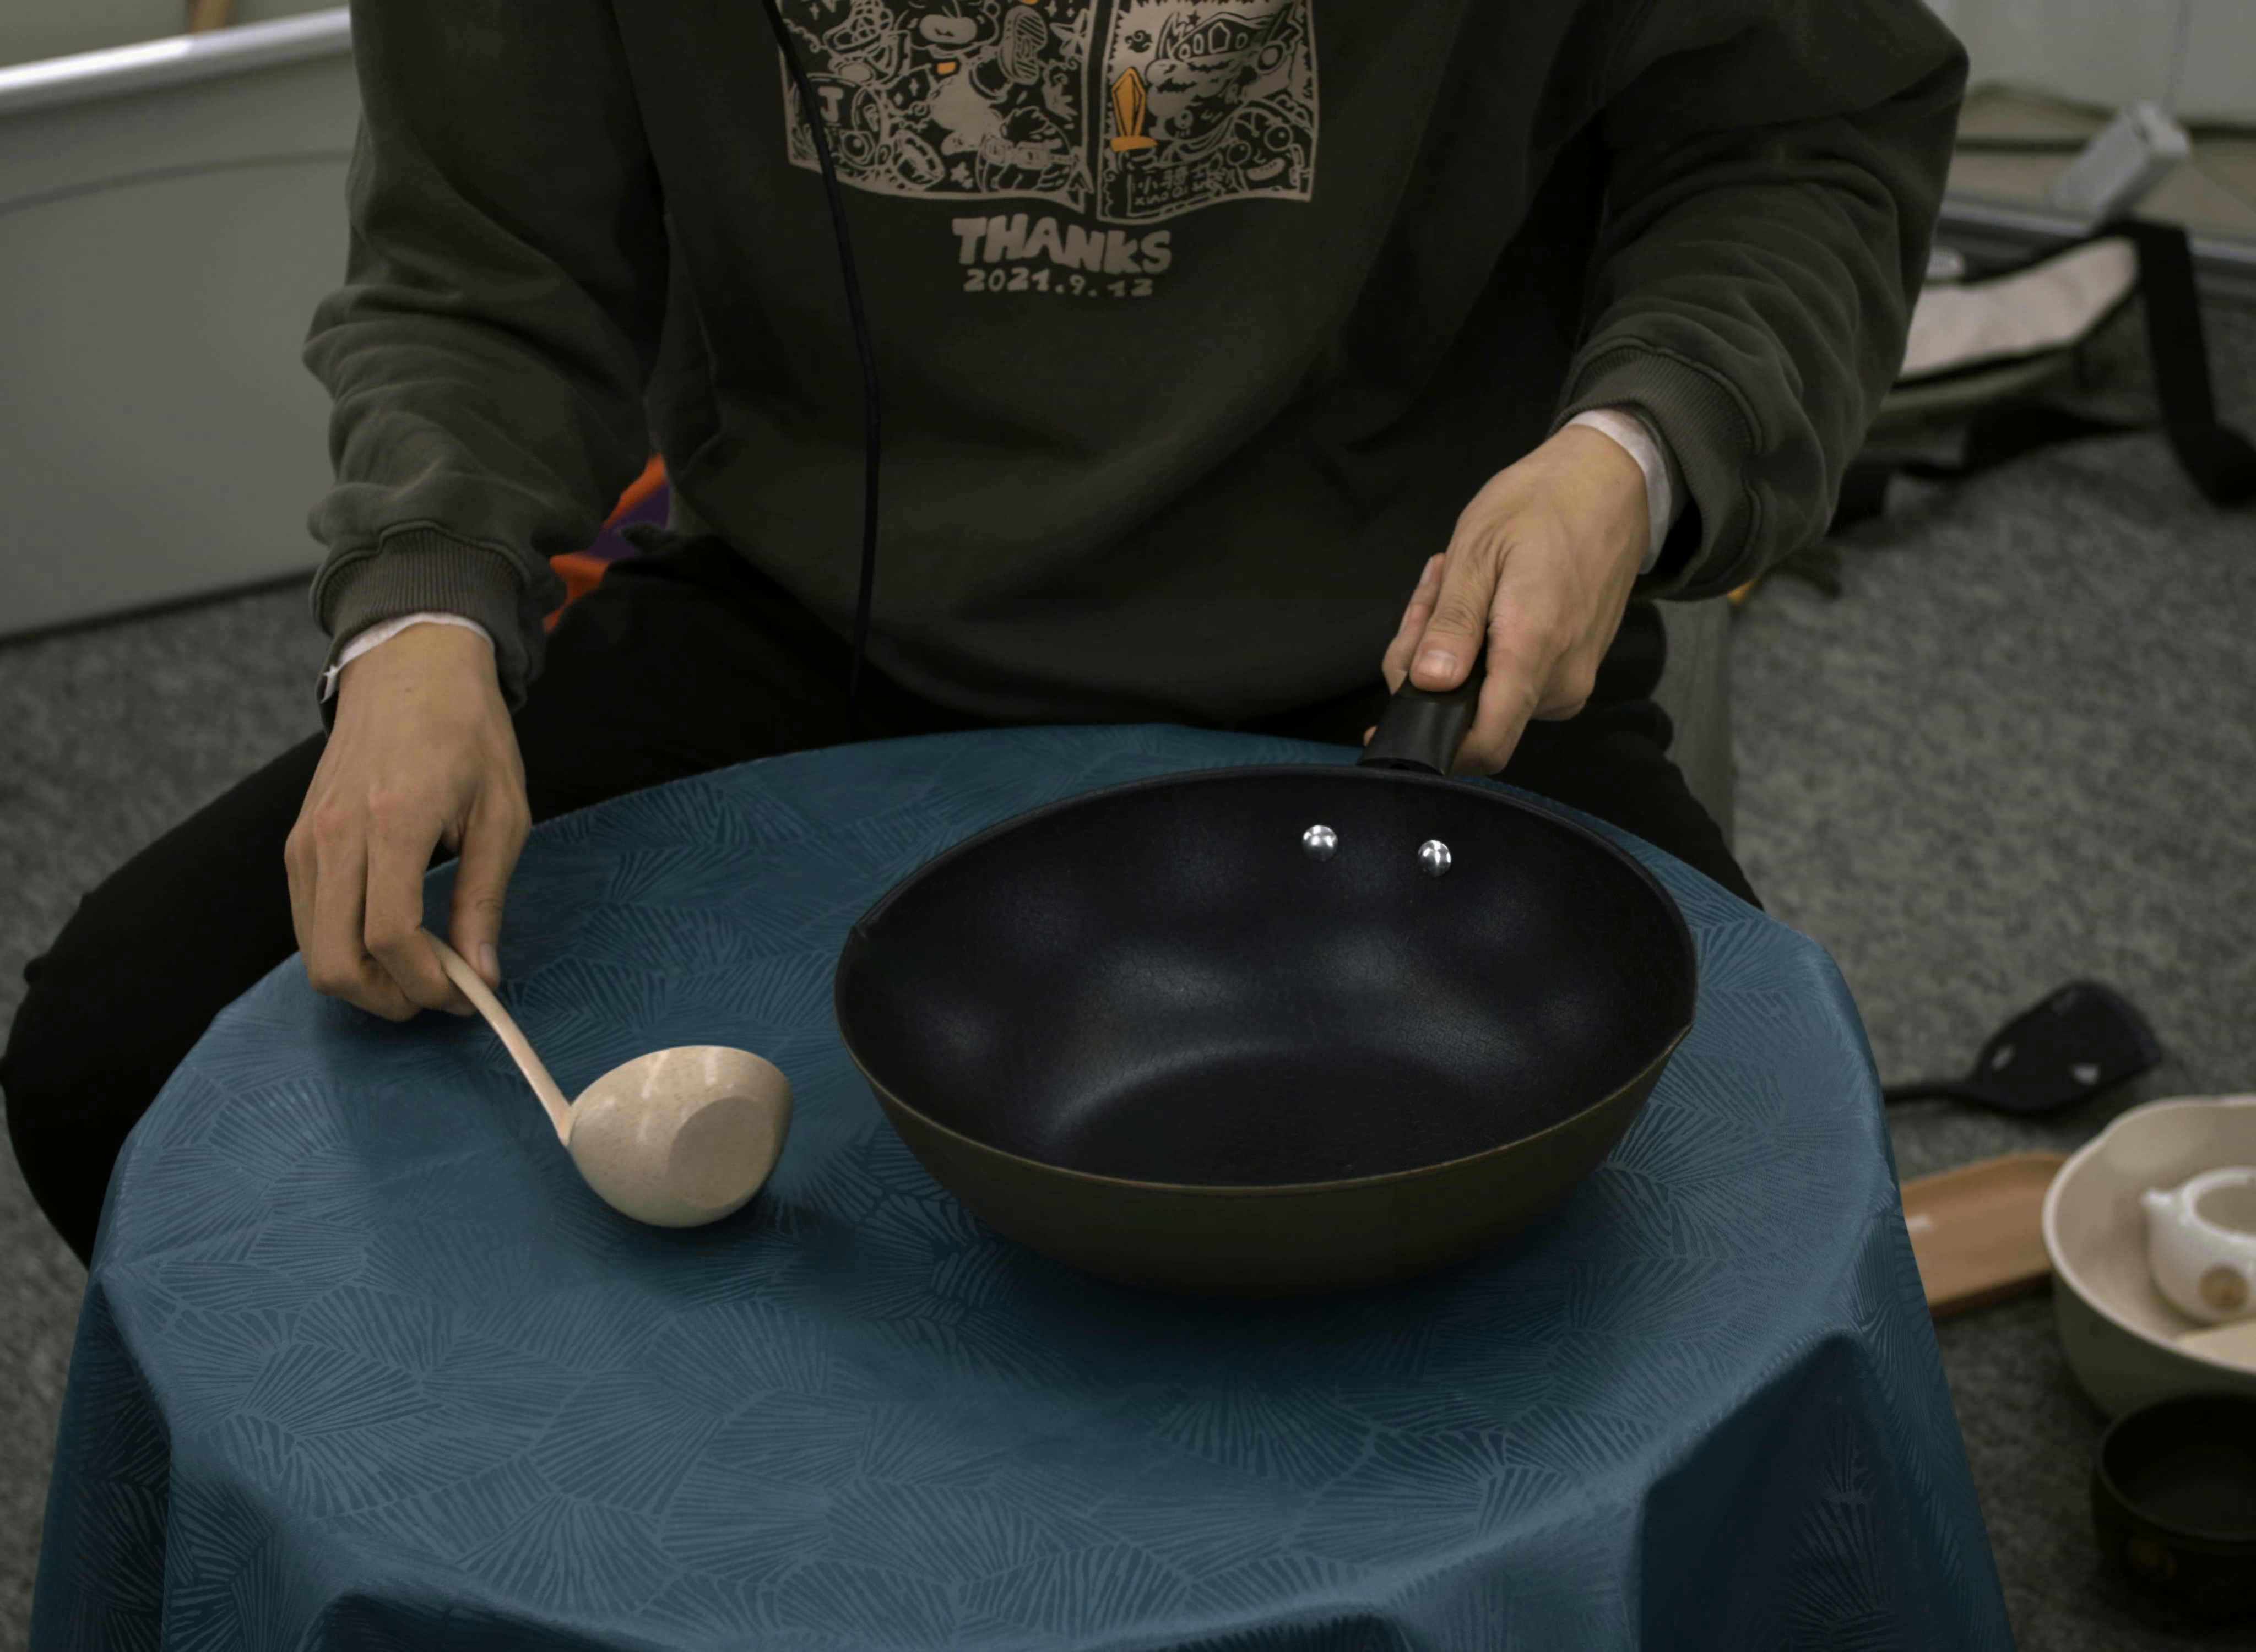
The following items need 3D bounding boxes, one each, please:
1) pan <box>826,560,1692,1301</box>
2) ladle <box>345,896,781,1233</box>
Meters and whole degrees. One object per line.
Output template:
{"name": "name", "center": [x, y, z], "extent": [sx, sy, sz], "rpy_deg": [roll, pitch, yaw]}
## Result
{"name": "pan", "center": [0.074, 0.037, 1.925], "extent": [0.286, 0.086, 0.471], "rpy_deg": [6, 29, 18]}
{"name": "ladle", "center": [-0.197, 0.055, 1.915], "extent": [0.072, 0.072, 0.256], "rpy_deg": [21, 14, -40]}
